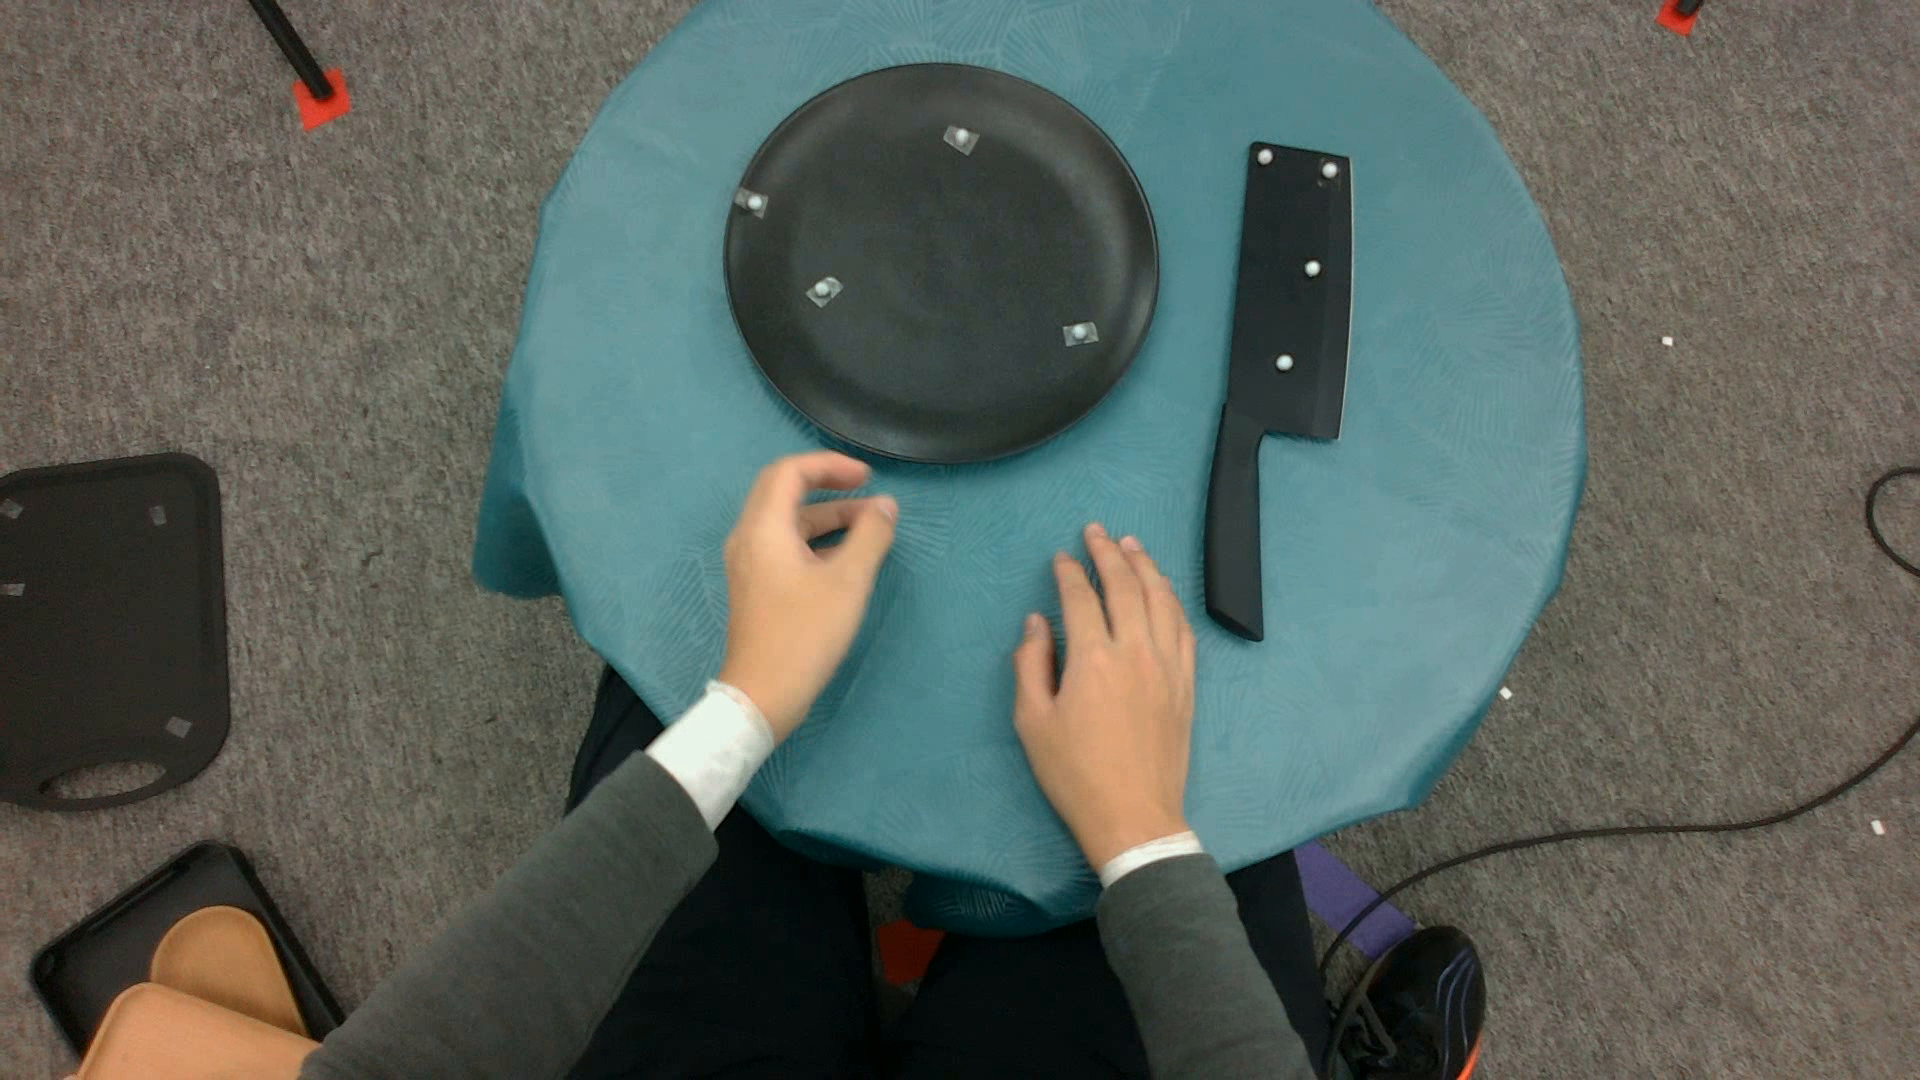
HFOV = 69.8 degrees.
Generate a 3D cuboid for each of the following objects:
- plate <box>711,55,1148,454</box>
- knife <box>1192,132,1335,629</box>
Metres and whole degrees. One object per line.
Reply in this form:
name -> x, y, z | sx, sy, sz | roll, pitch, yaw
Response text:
plate -> -0.016, -0.161, 0.773 | 0.244, 0.023, 0.245 | 1, 74, -3
knife -> 0.171, -0.097, 0.771 | 0.081, 0.021, 0.303 | 13, 72, -1
